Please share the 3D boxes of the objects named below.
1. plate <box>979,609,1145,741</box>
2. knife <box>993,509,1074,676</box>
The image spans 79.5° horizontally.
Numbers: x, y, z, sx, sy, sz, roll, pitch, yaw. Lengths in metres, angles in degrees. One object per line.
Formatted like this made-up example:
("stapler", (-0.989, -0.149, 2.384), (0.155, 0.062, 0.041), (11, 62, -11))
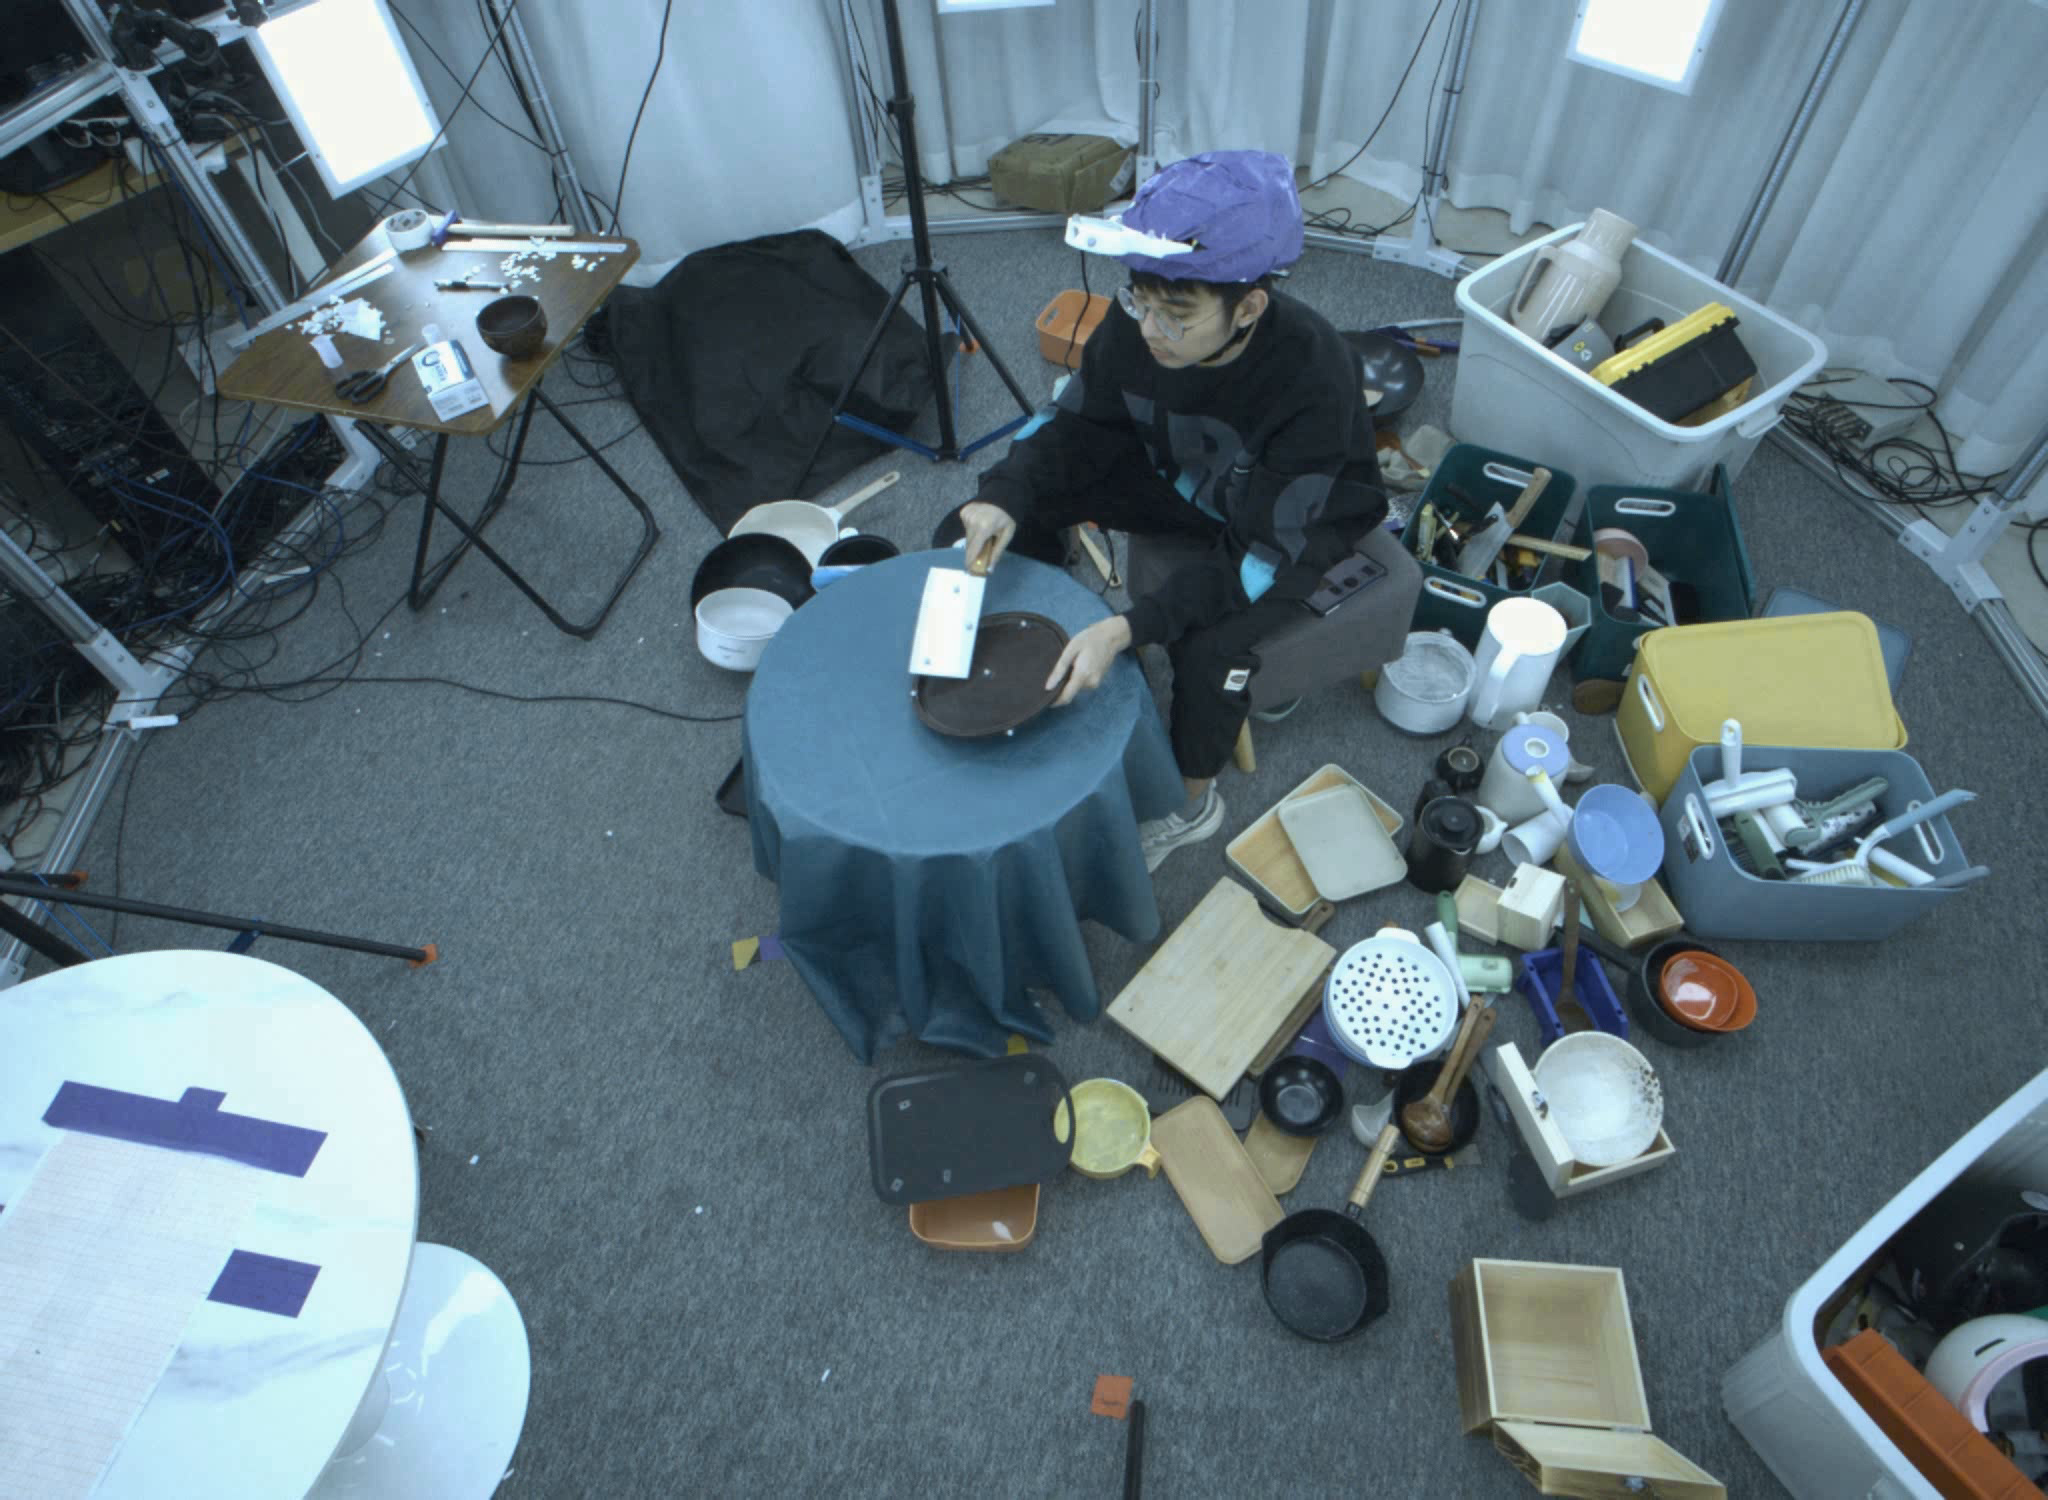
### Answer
("plate", (0.056, -0.110, 1.813), (0.253, 0.029, 0.252), (-11, 47, 14))
("knife", (0.013, -0.248, 1.886), (0.092, 0.021, 0.304), (8, 66, 9))
